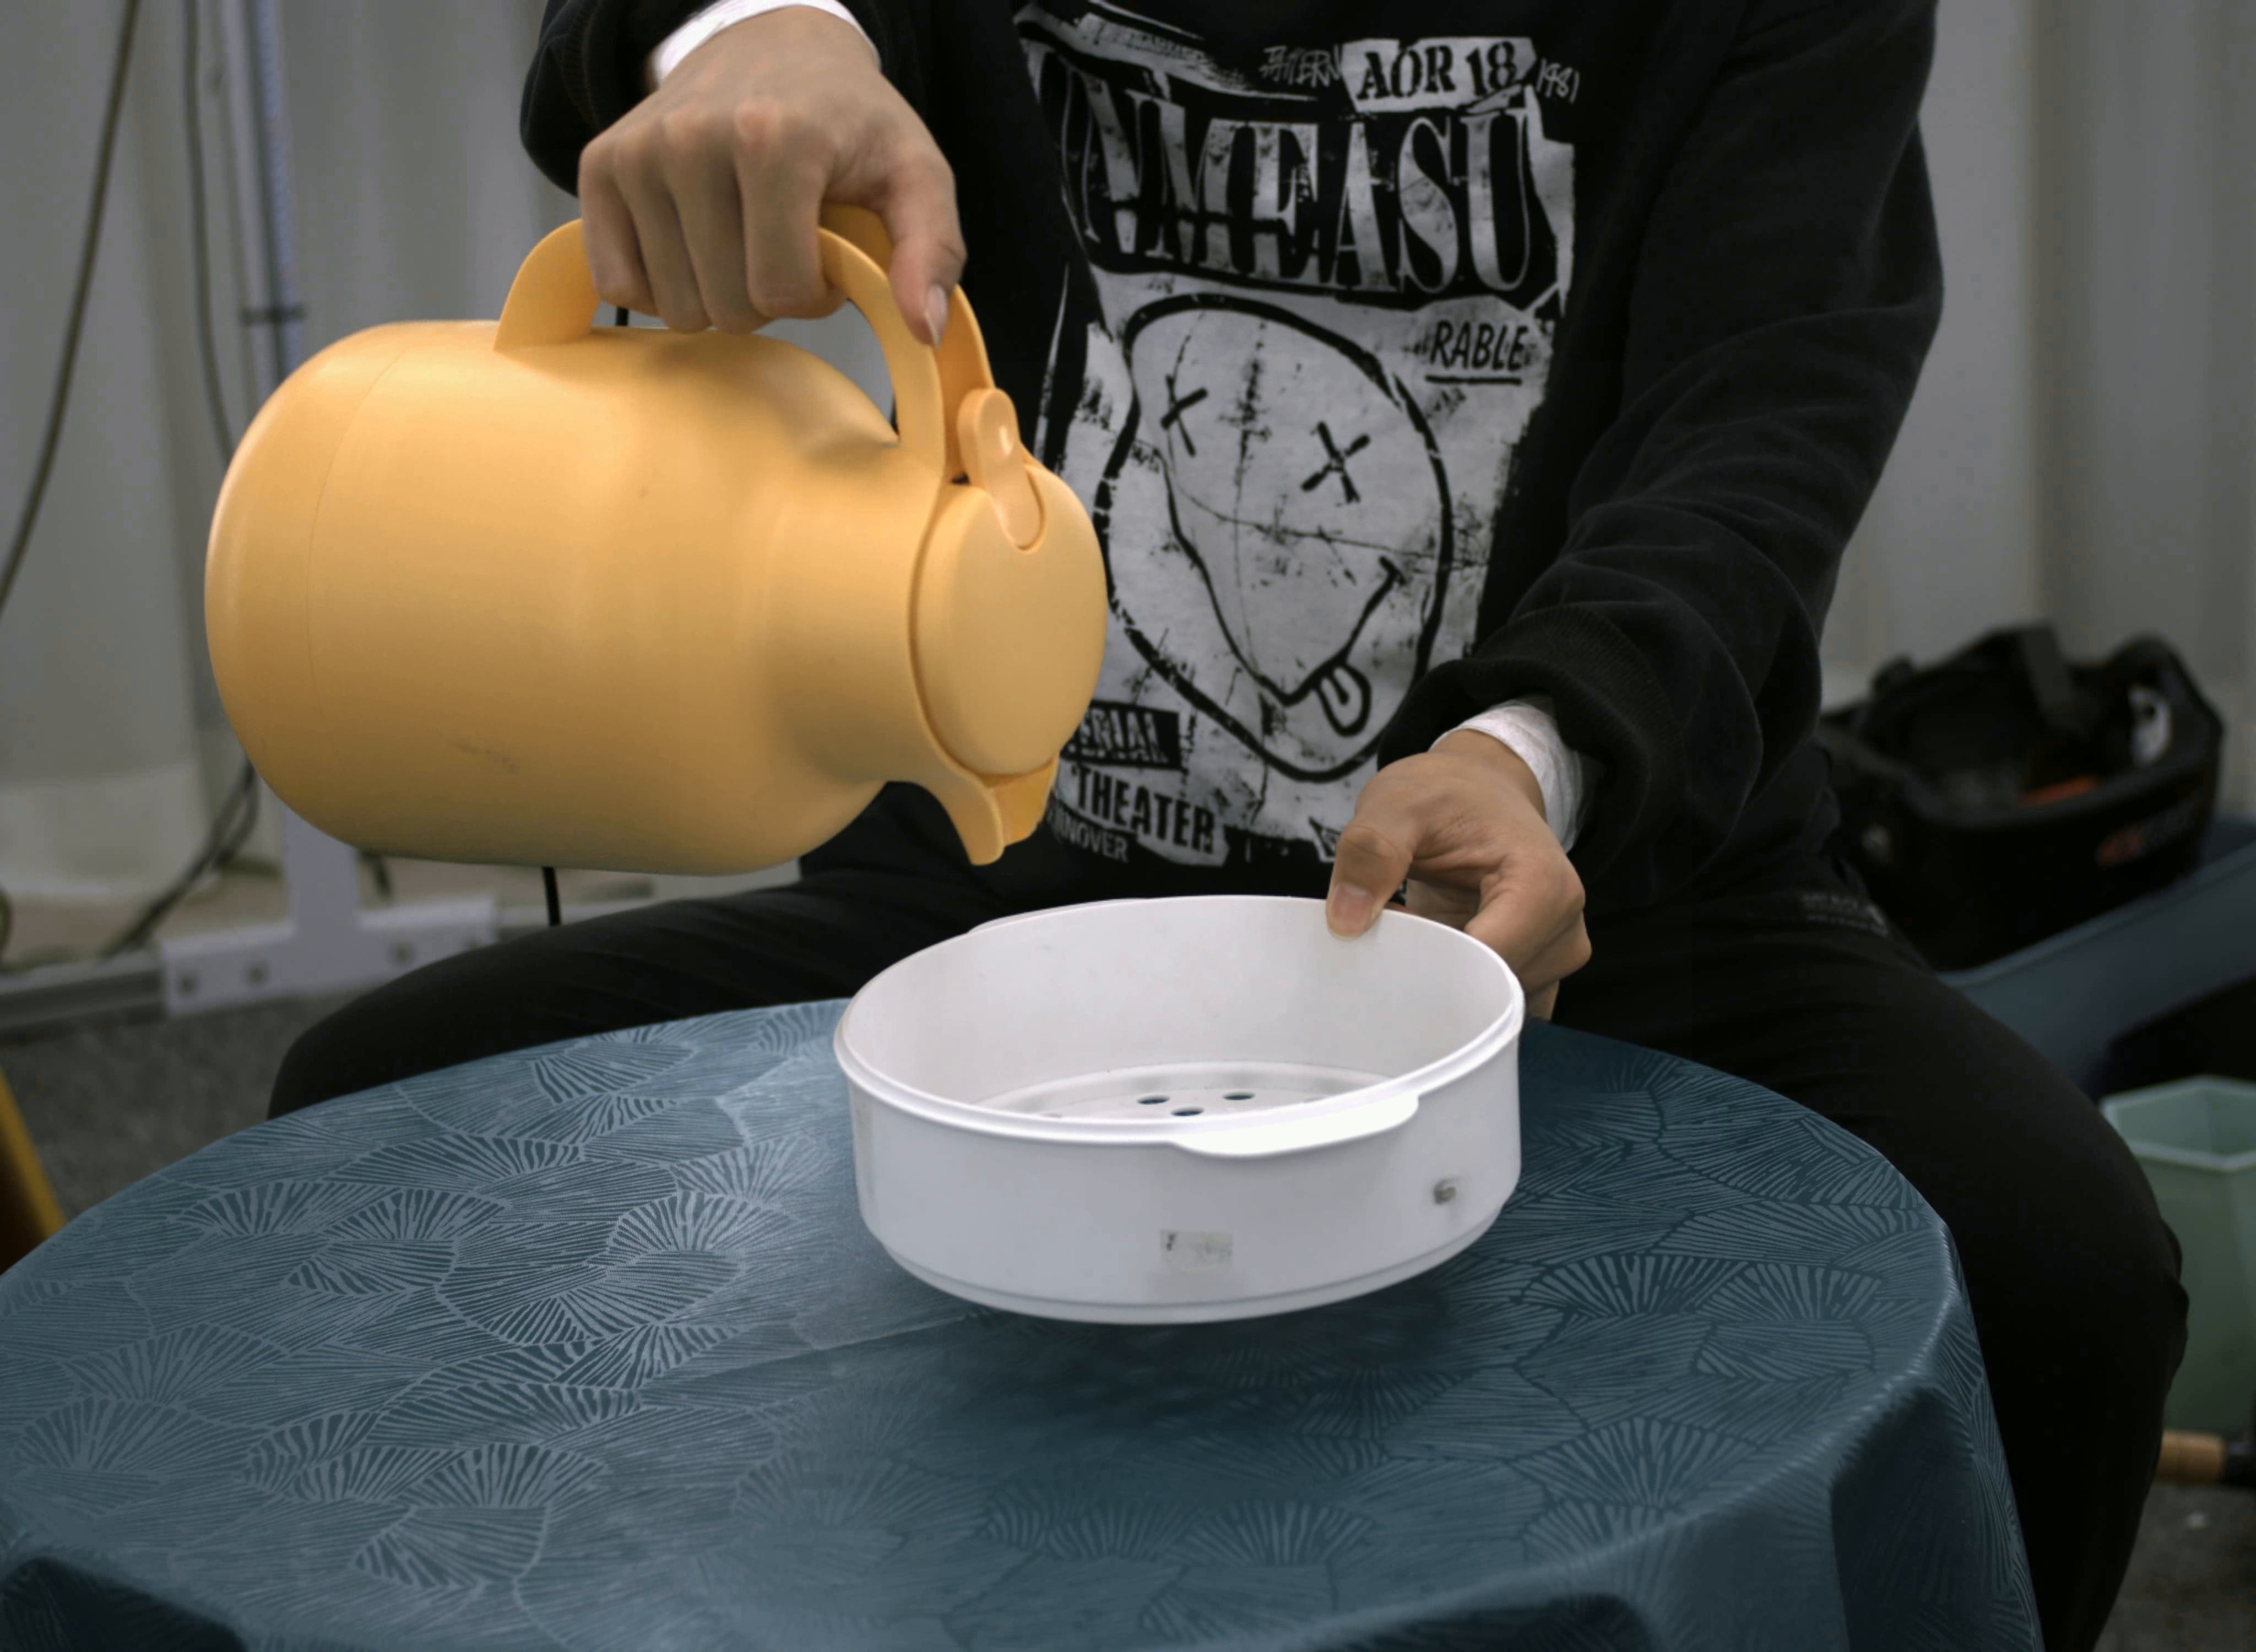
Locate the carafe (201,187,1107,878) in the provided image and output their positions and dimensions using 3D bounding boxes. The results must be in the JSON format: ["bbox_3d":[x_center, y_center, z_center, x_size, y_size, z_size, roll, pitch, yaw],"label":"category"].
[{"bbox_3d":[-0.134,-0.087,1.602,0.261,0.201,0.164,6,18,29],"label":"carafe"}]

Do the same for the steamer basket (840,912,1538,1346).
[{"bbox_3d":[0.019,0.087,1.580,0.201,0.069,0.232,-9,18,-17],"label":"steamer basket"}]
